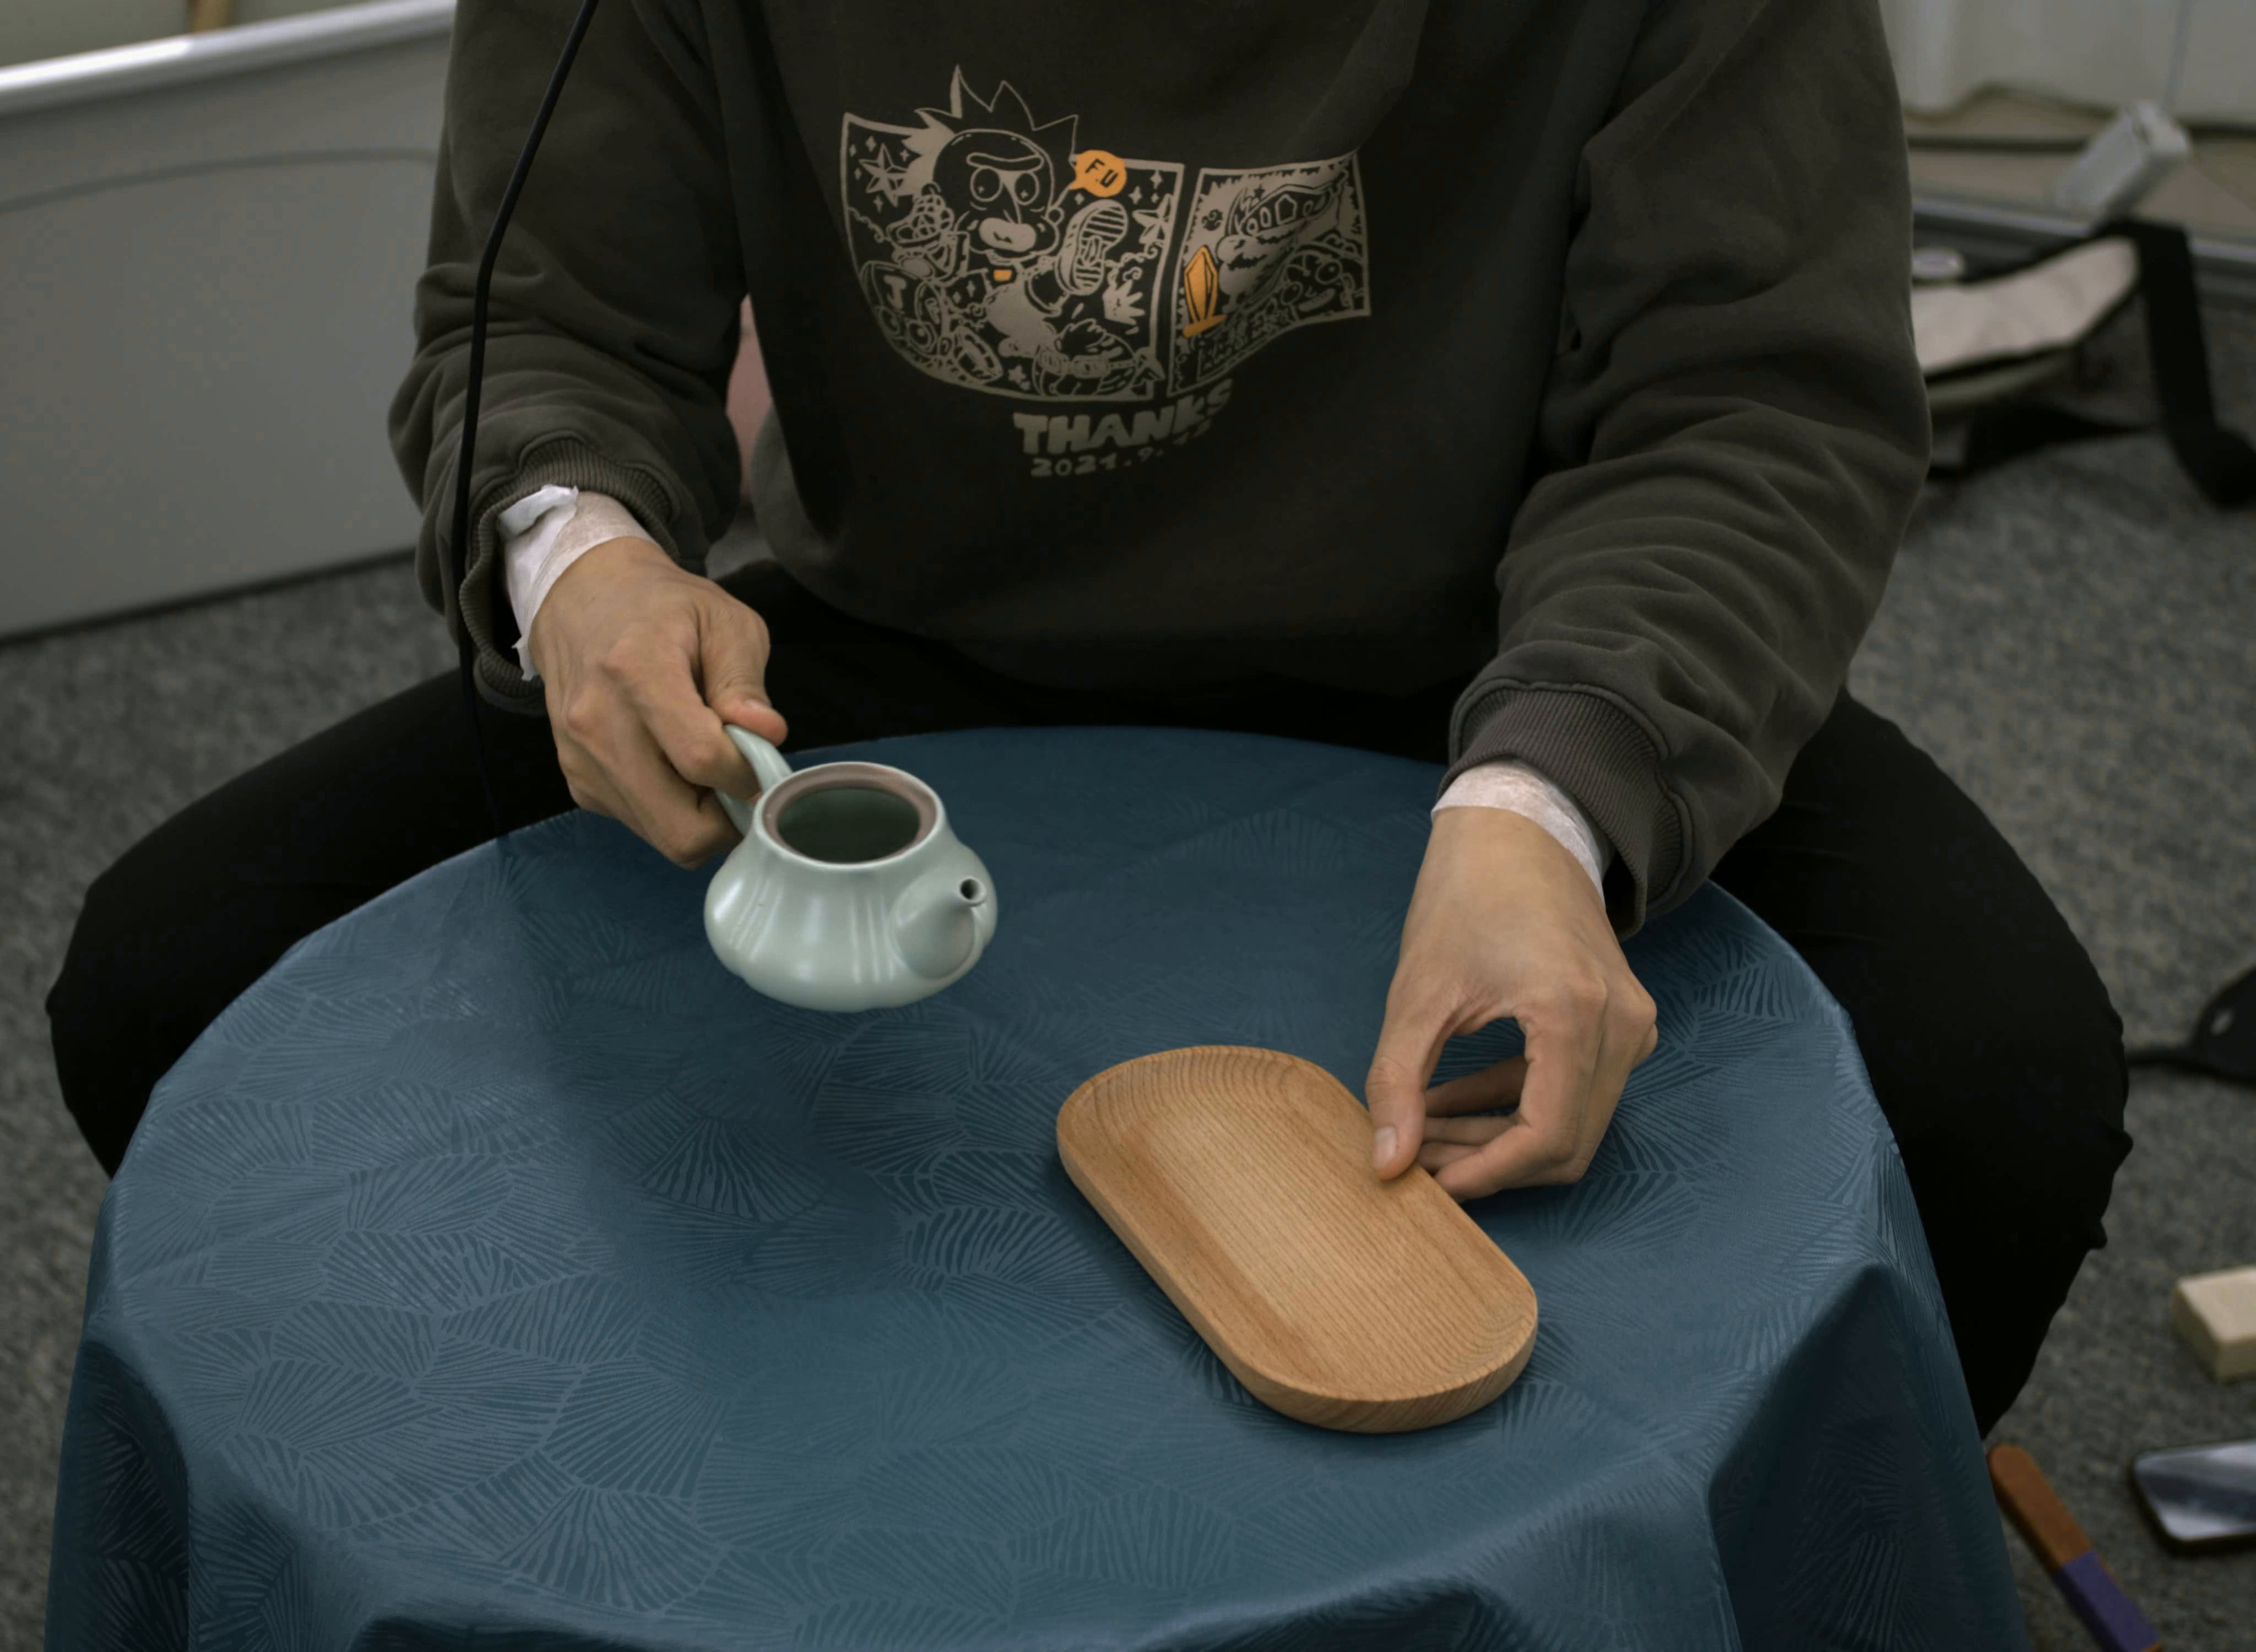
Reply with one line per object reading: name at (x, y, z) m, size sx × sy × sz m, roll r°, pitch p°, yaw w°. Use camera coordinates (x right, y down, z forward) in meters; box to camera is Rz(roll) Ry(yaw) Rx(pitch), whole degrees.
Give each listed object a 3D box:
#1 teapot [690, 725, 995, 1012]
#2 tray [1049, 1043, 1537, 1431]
teapot at (-0.095, 0.015, 1.845) m, size 0.137 × 0.060 × 0.097 m, roll 31°, pitch 46°, yaw 35°
tray at (0.051, 0.131, 1.819) m, size 0.102 × 0.020 × 0.232 m, roll -13°, pitch 28°, yaw -20°
